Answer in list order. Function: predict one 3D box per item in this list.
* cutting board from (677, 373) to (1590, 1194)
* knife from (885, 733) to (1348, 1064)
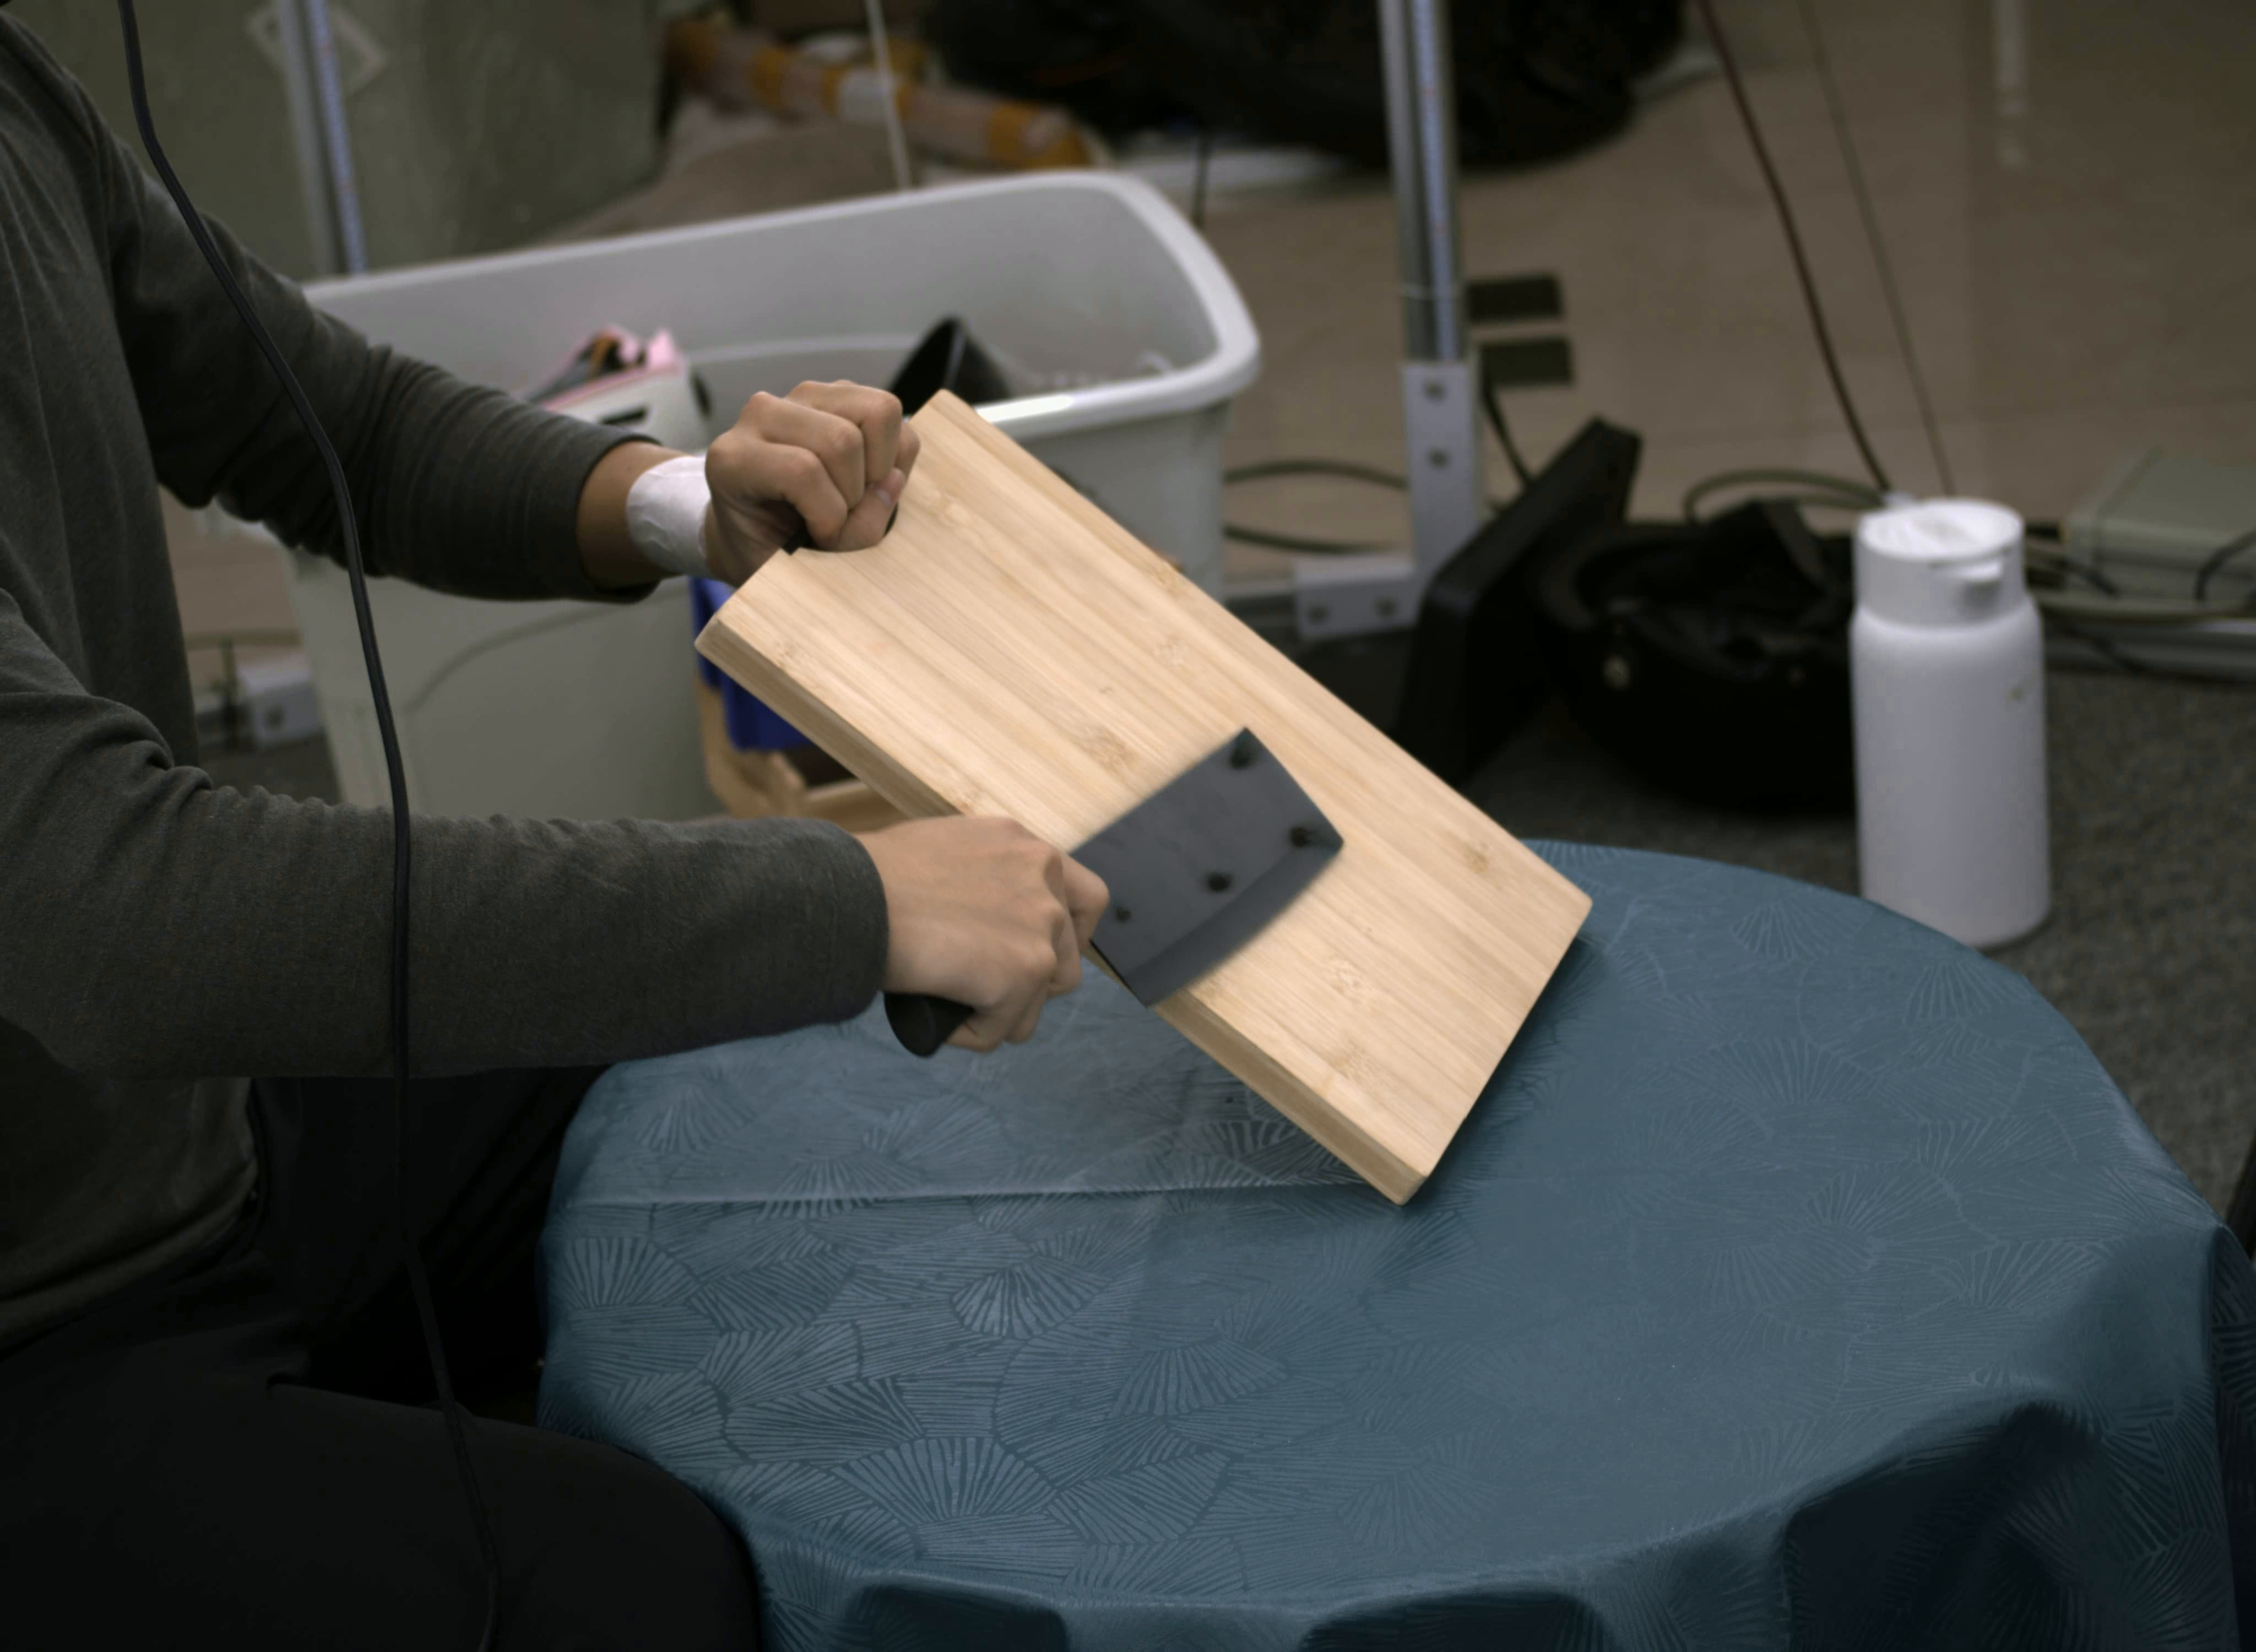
[{"bbox_3d":[0.009,-0.021,2.209,0.349,0.024,0.247,38,33,-2],"label":"cutting board"},{"bbox_3d":[-0.001,0.032,2.102,0.021,0.080,0.300,-41,-8,34],"label":"knife"}]
